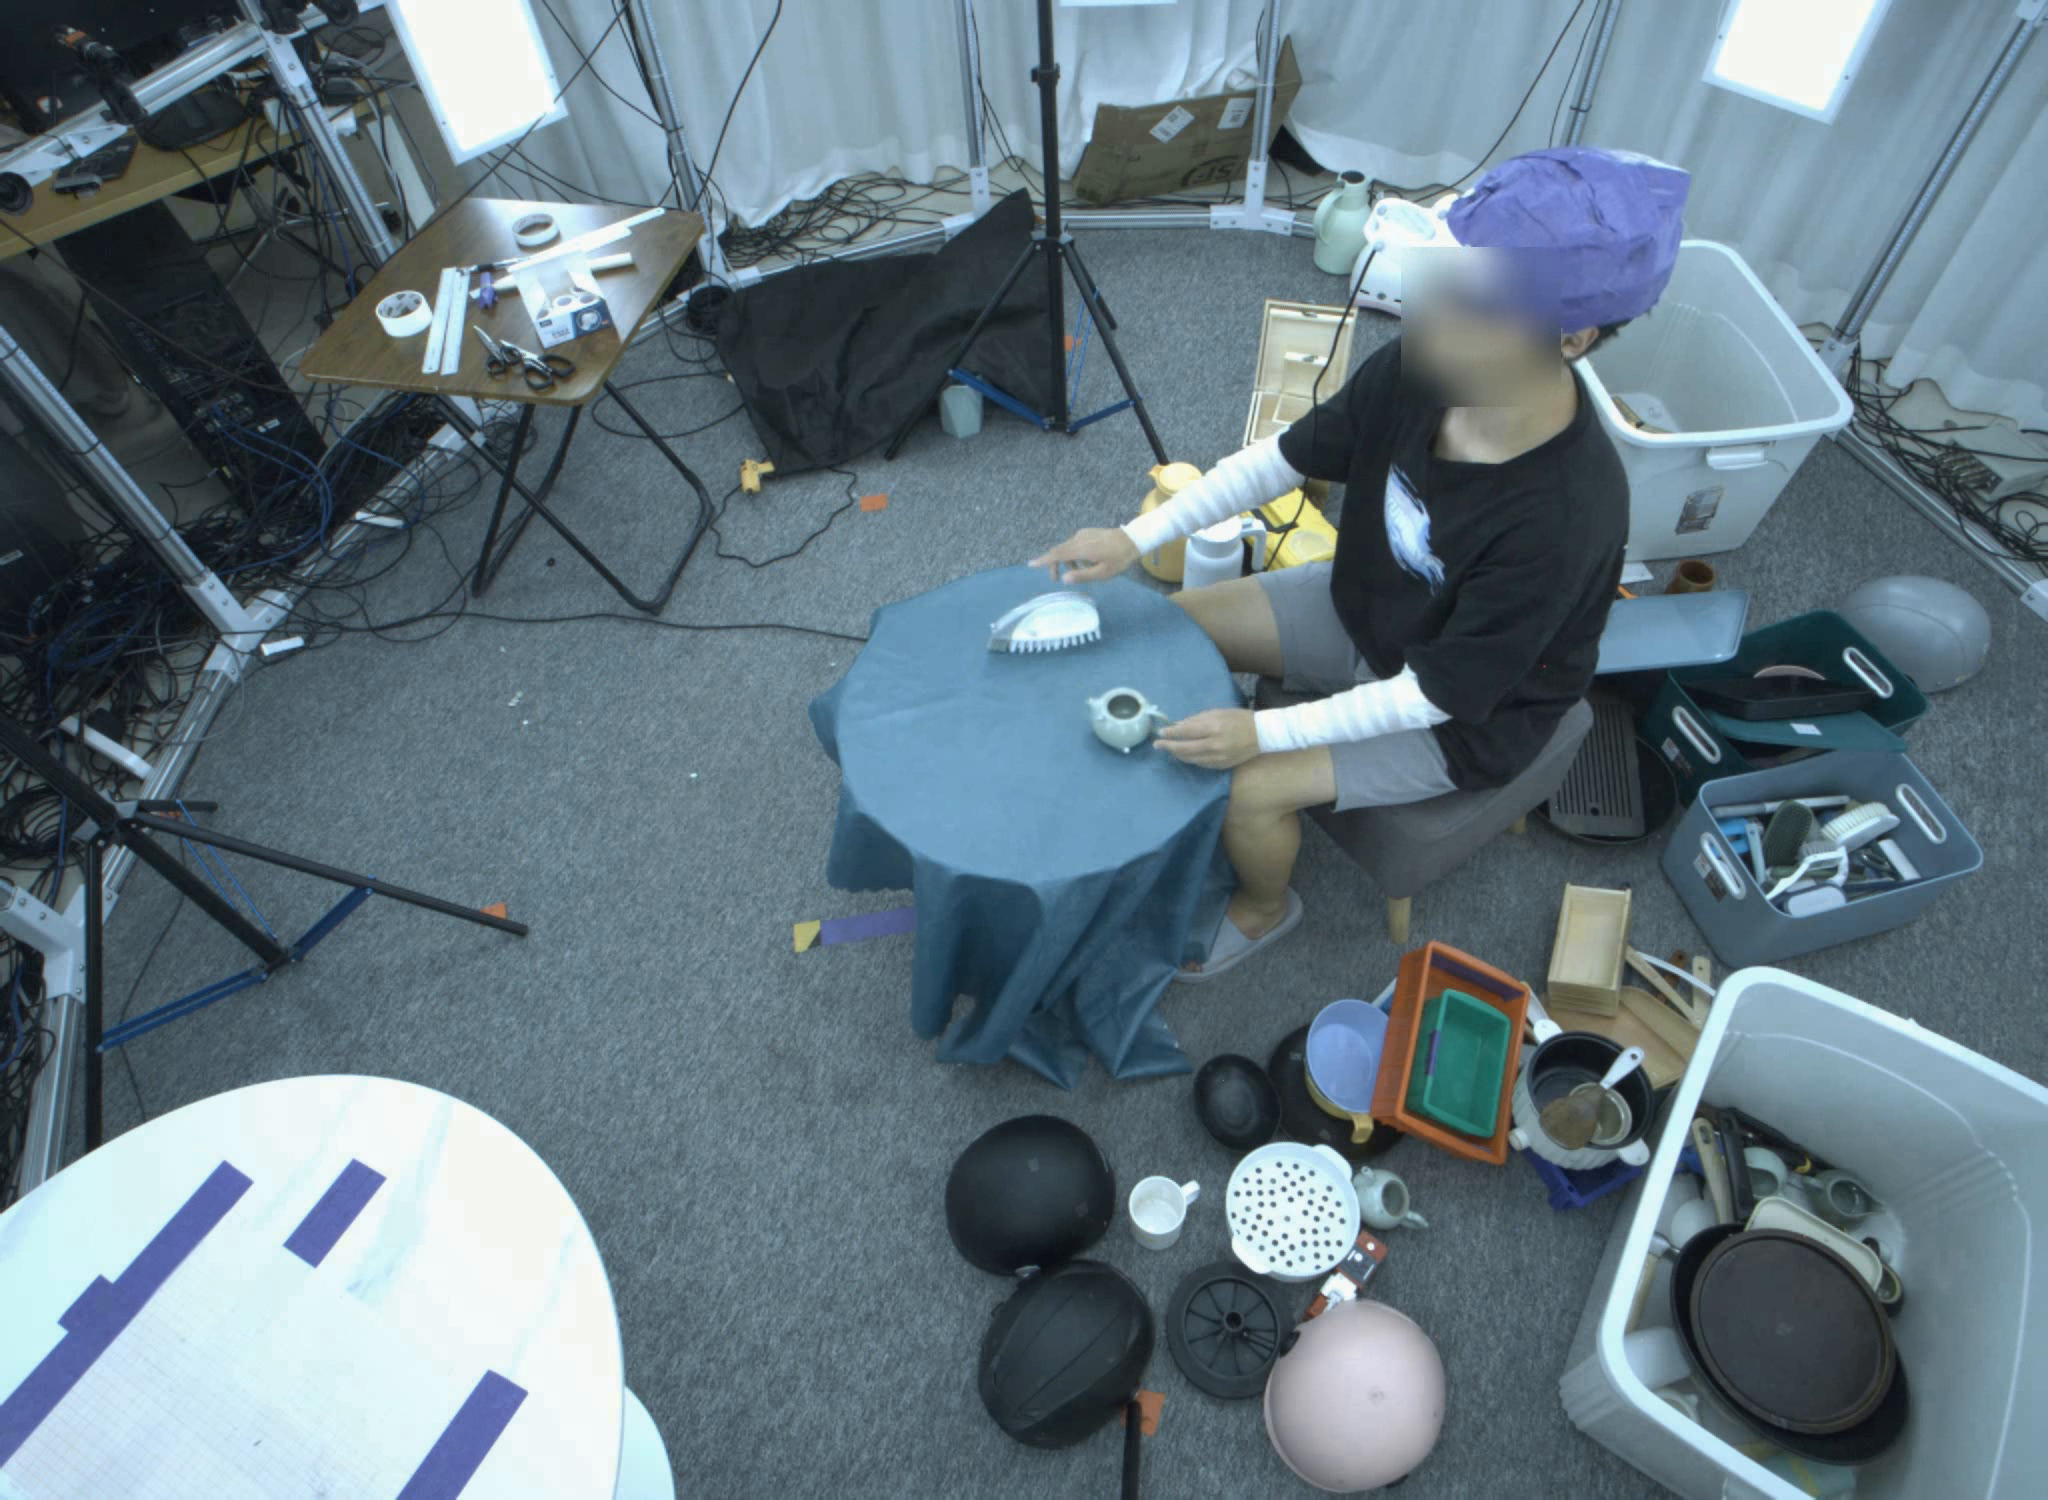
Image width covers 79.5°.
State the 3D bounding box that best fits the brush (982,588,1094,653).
[{"bbox_3d":[0.017,-0.198,1.863,0.176,0.095,0.060,-12,51,-4],"label":"brush"}]

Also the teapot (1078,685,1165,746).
[{"bbox_3d":[0.140,-0.047,1.771,0.127,0.061,0.091,14,54,11],"label":"teapot"}]
